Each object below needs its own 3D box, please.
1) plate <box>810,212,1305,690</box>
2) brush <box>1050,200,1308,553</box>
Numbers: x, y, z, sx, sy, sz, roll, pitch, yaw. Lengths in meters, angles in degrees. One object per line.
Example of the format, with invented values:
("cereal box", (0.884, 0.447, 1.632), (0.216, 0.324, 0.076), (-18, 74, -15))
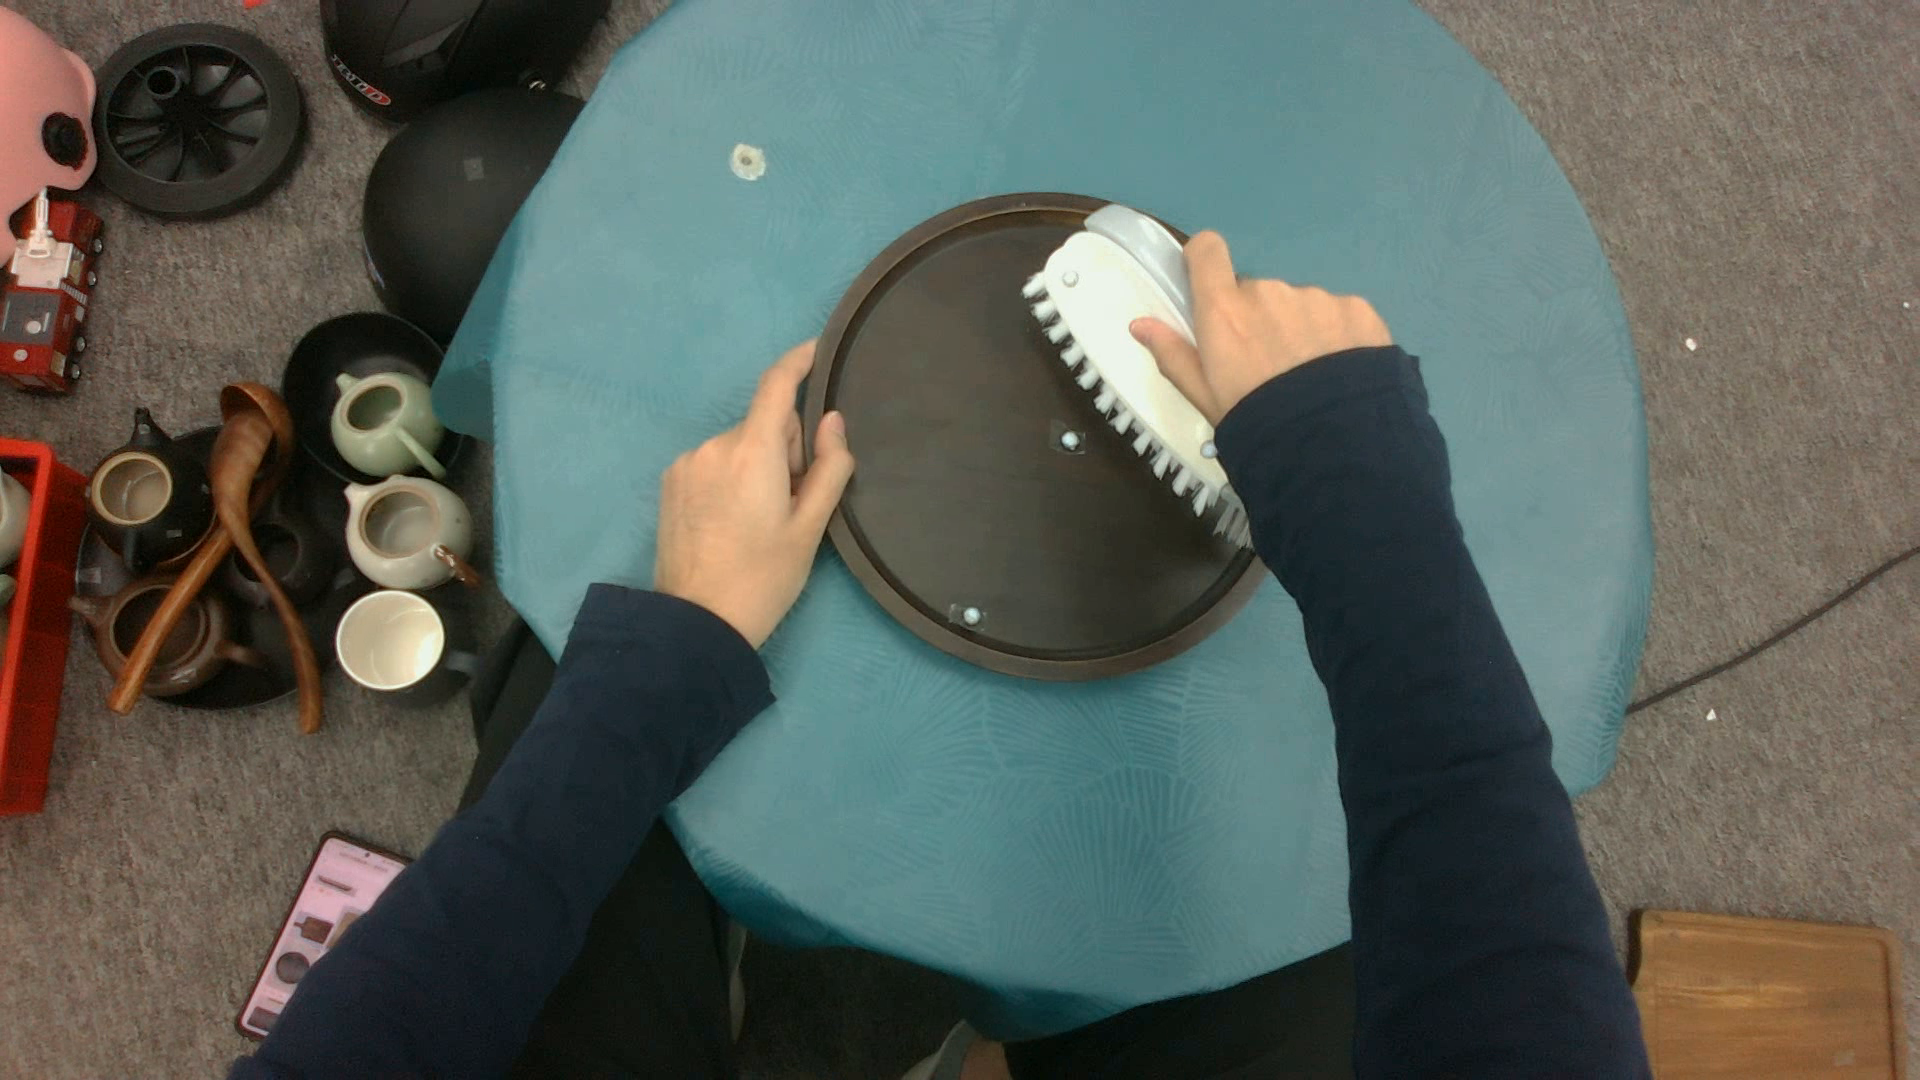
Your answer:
("plate", (0.050, -0.049, 0.702), (0.255, 0.029, 0.255), (2, 75, -6))
("brush", (0.114, -0.077, 0.634), (0.061, 0.094, 0.175), (-29, 85, -16))
